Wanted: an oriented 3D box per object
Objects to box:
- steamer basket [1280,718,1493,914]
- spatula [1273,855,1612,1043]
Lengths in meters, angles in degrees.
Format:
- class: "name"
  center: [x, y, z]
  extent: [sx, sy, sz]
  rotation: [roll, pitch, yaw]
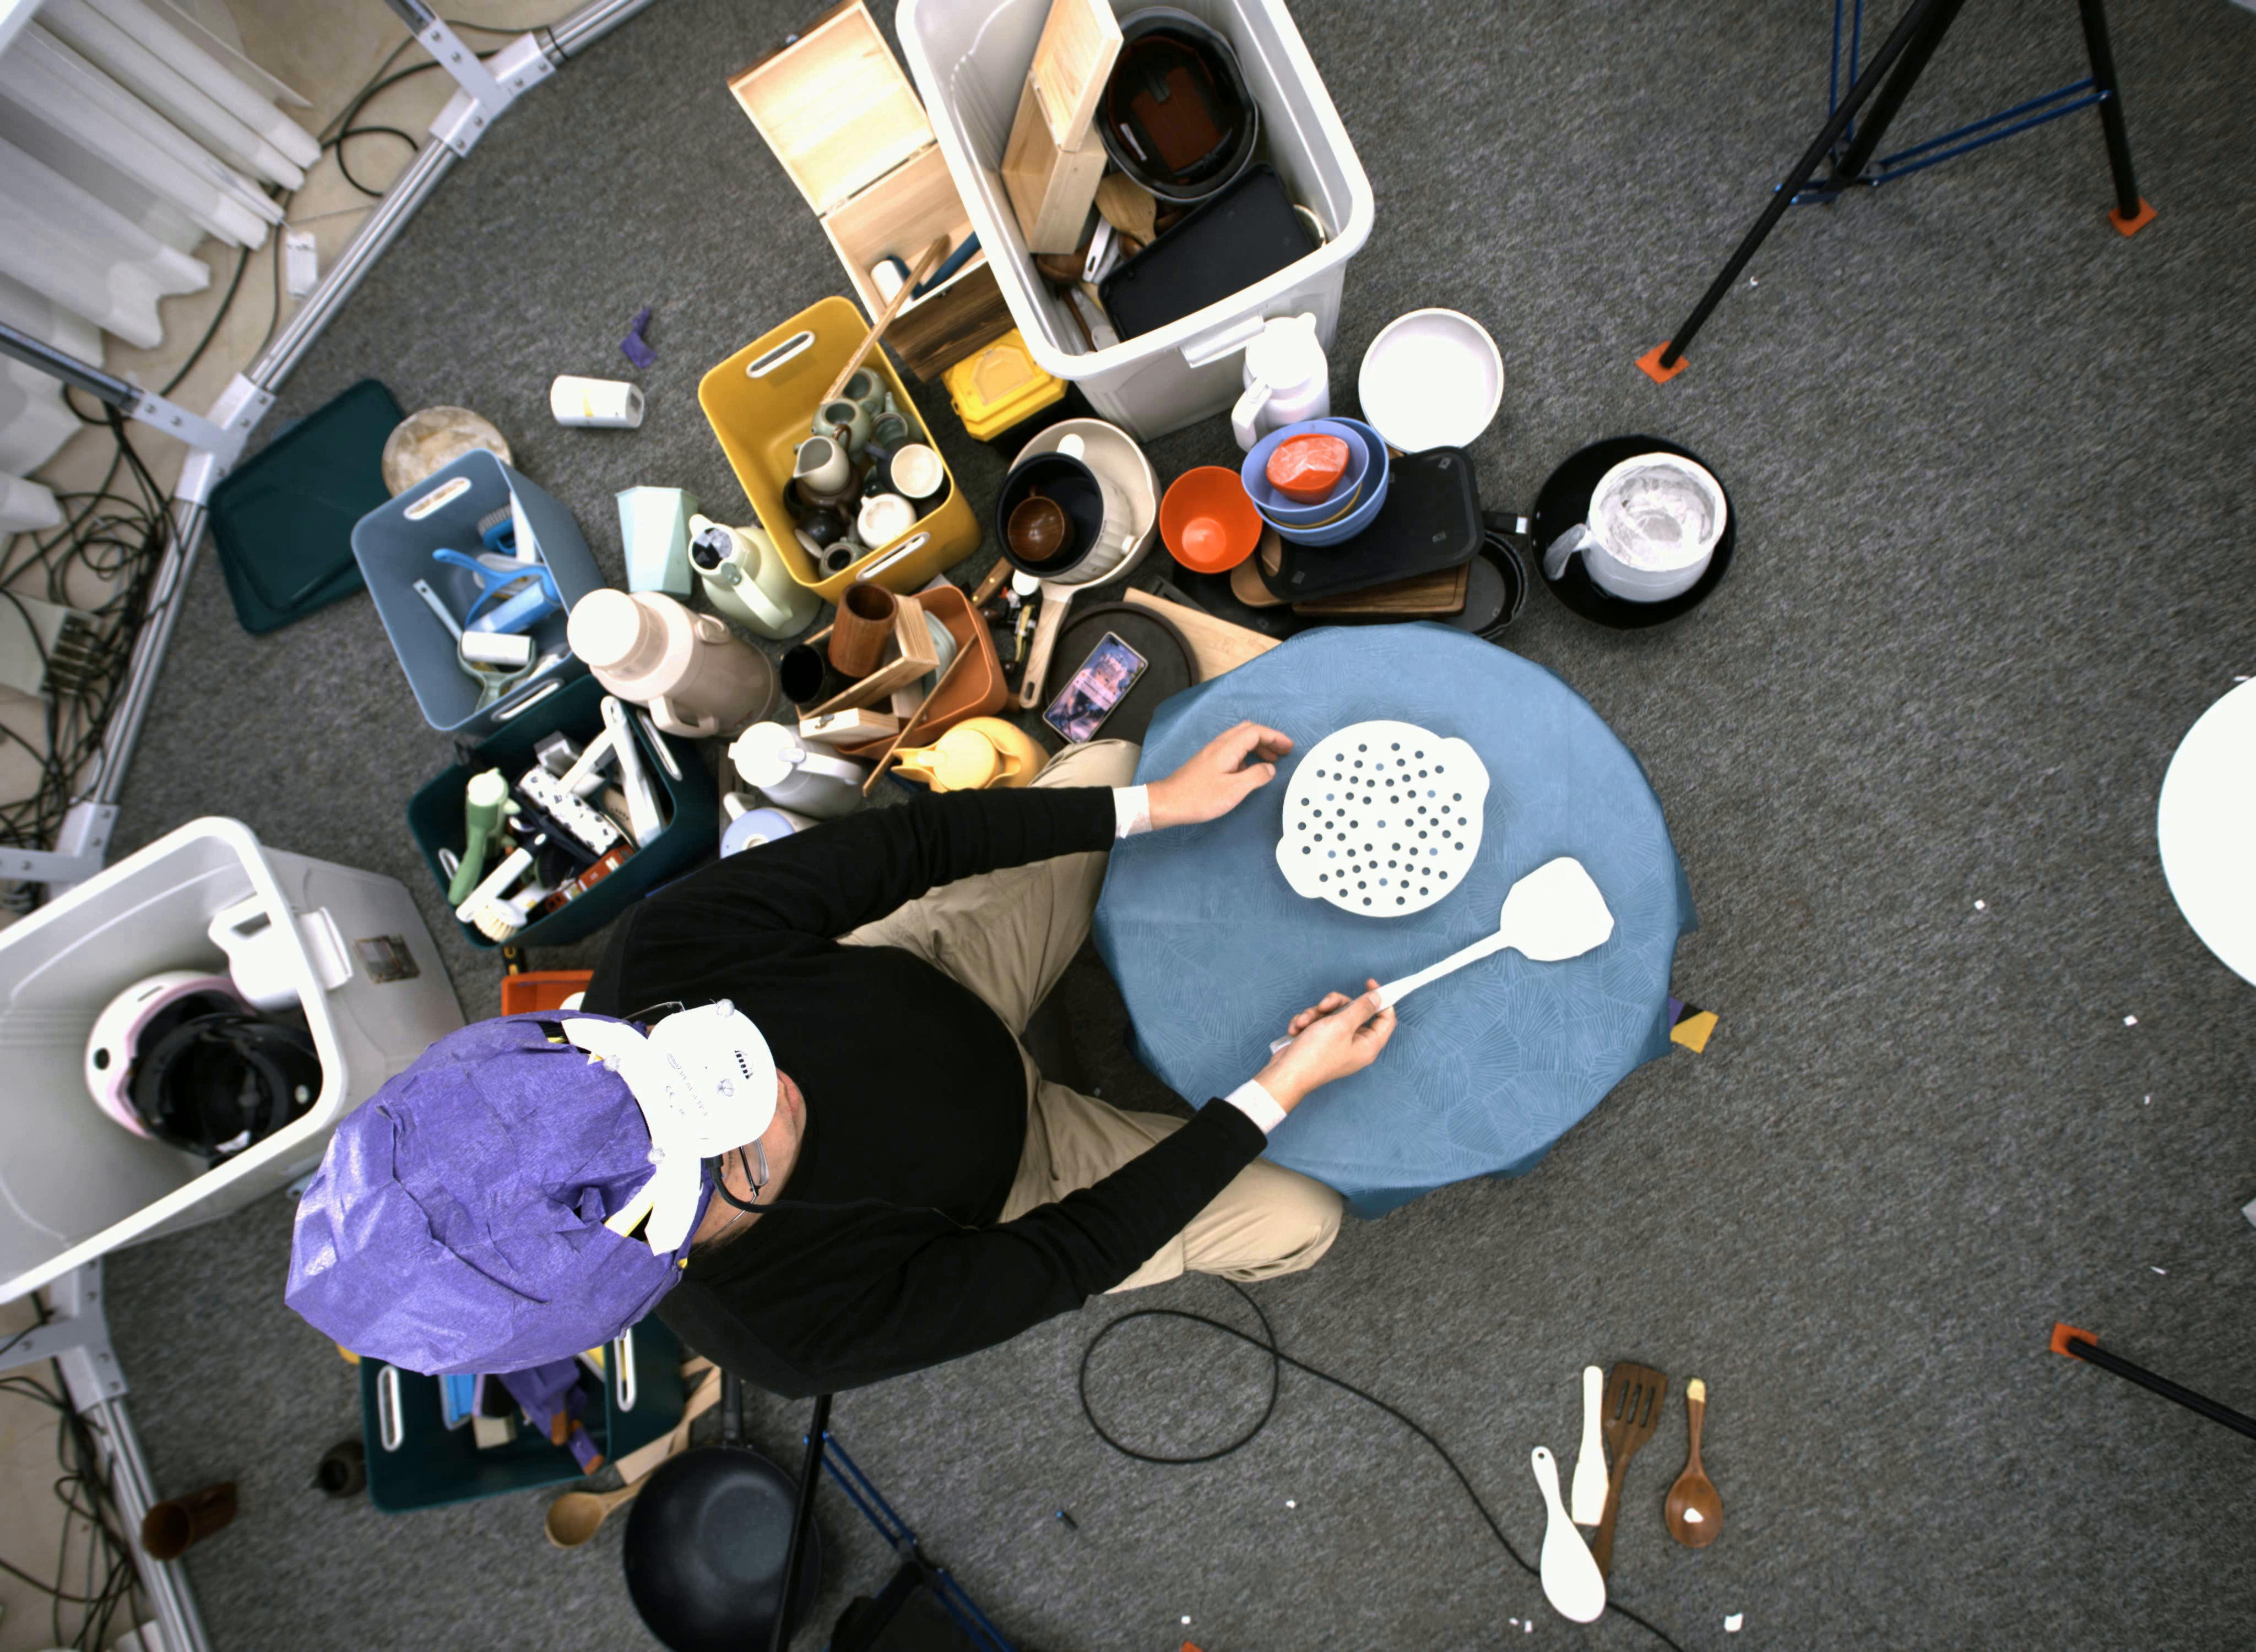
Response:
- class: "steamer basket"
  center: [0.267, -0.009, 1.430]
  extent: [0.232, 0.069, 0.200]
  rotation: [-31, 81, 8]
- class: "spatula"
  center: [0.317, 0.141, 1.408]
  extent: [0.364, 0.045, 0.098]
  rotation: [-25, 81, -3]
